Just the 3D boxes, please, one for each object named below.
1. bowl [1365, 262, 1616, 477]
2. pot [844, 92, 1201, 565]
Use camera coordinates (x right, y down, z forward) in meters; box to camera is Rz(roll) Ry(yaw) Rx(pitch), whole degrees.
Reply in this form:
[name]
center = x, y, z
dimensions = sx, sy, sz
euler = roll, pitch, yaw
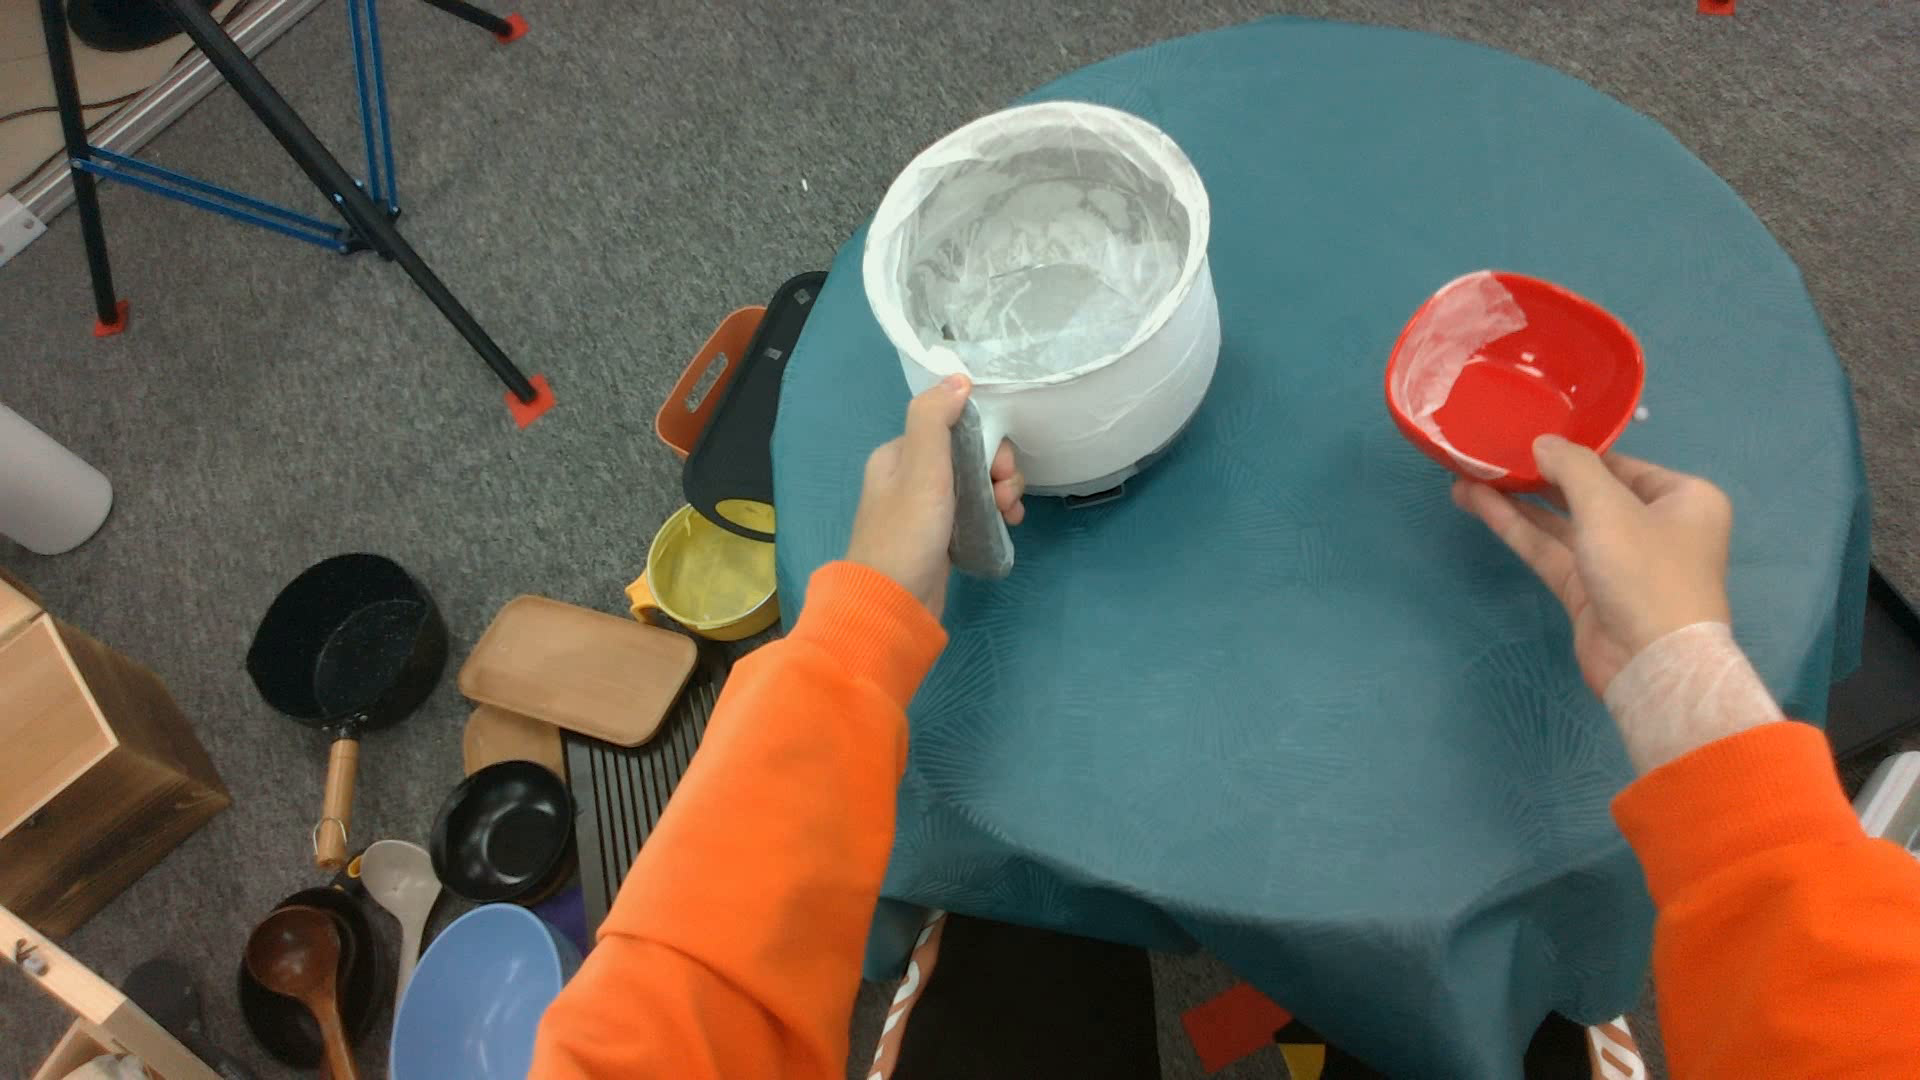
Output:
[bowl]
center = 0.258, -0.076, 0.685
dimensions = 0.119, 0.051, 0.119
euler = -2, 62, 5
[pot]
center = 0.031, -0.108, 0.741
dimensions = 0.178, 0.136, 0.234
euler = 12, 67, 20
